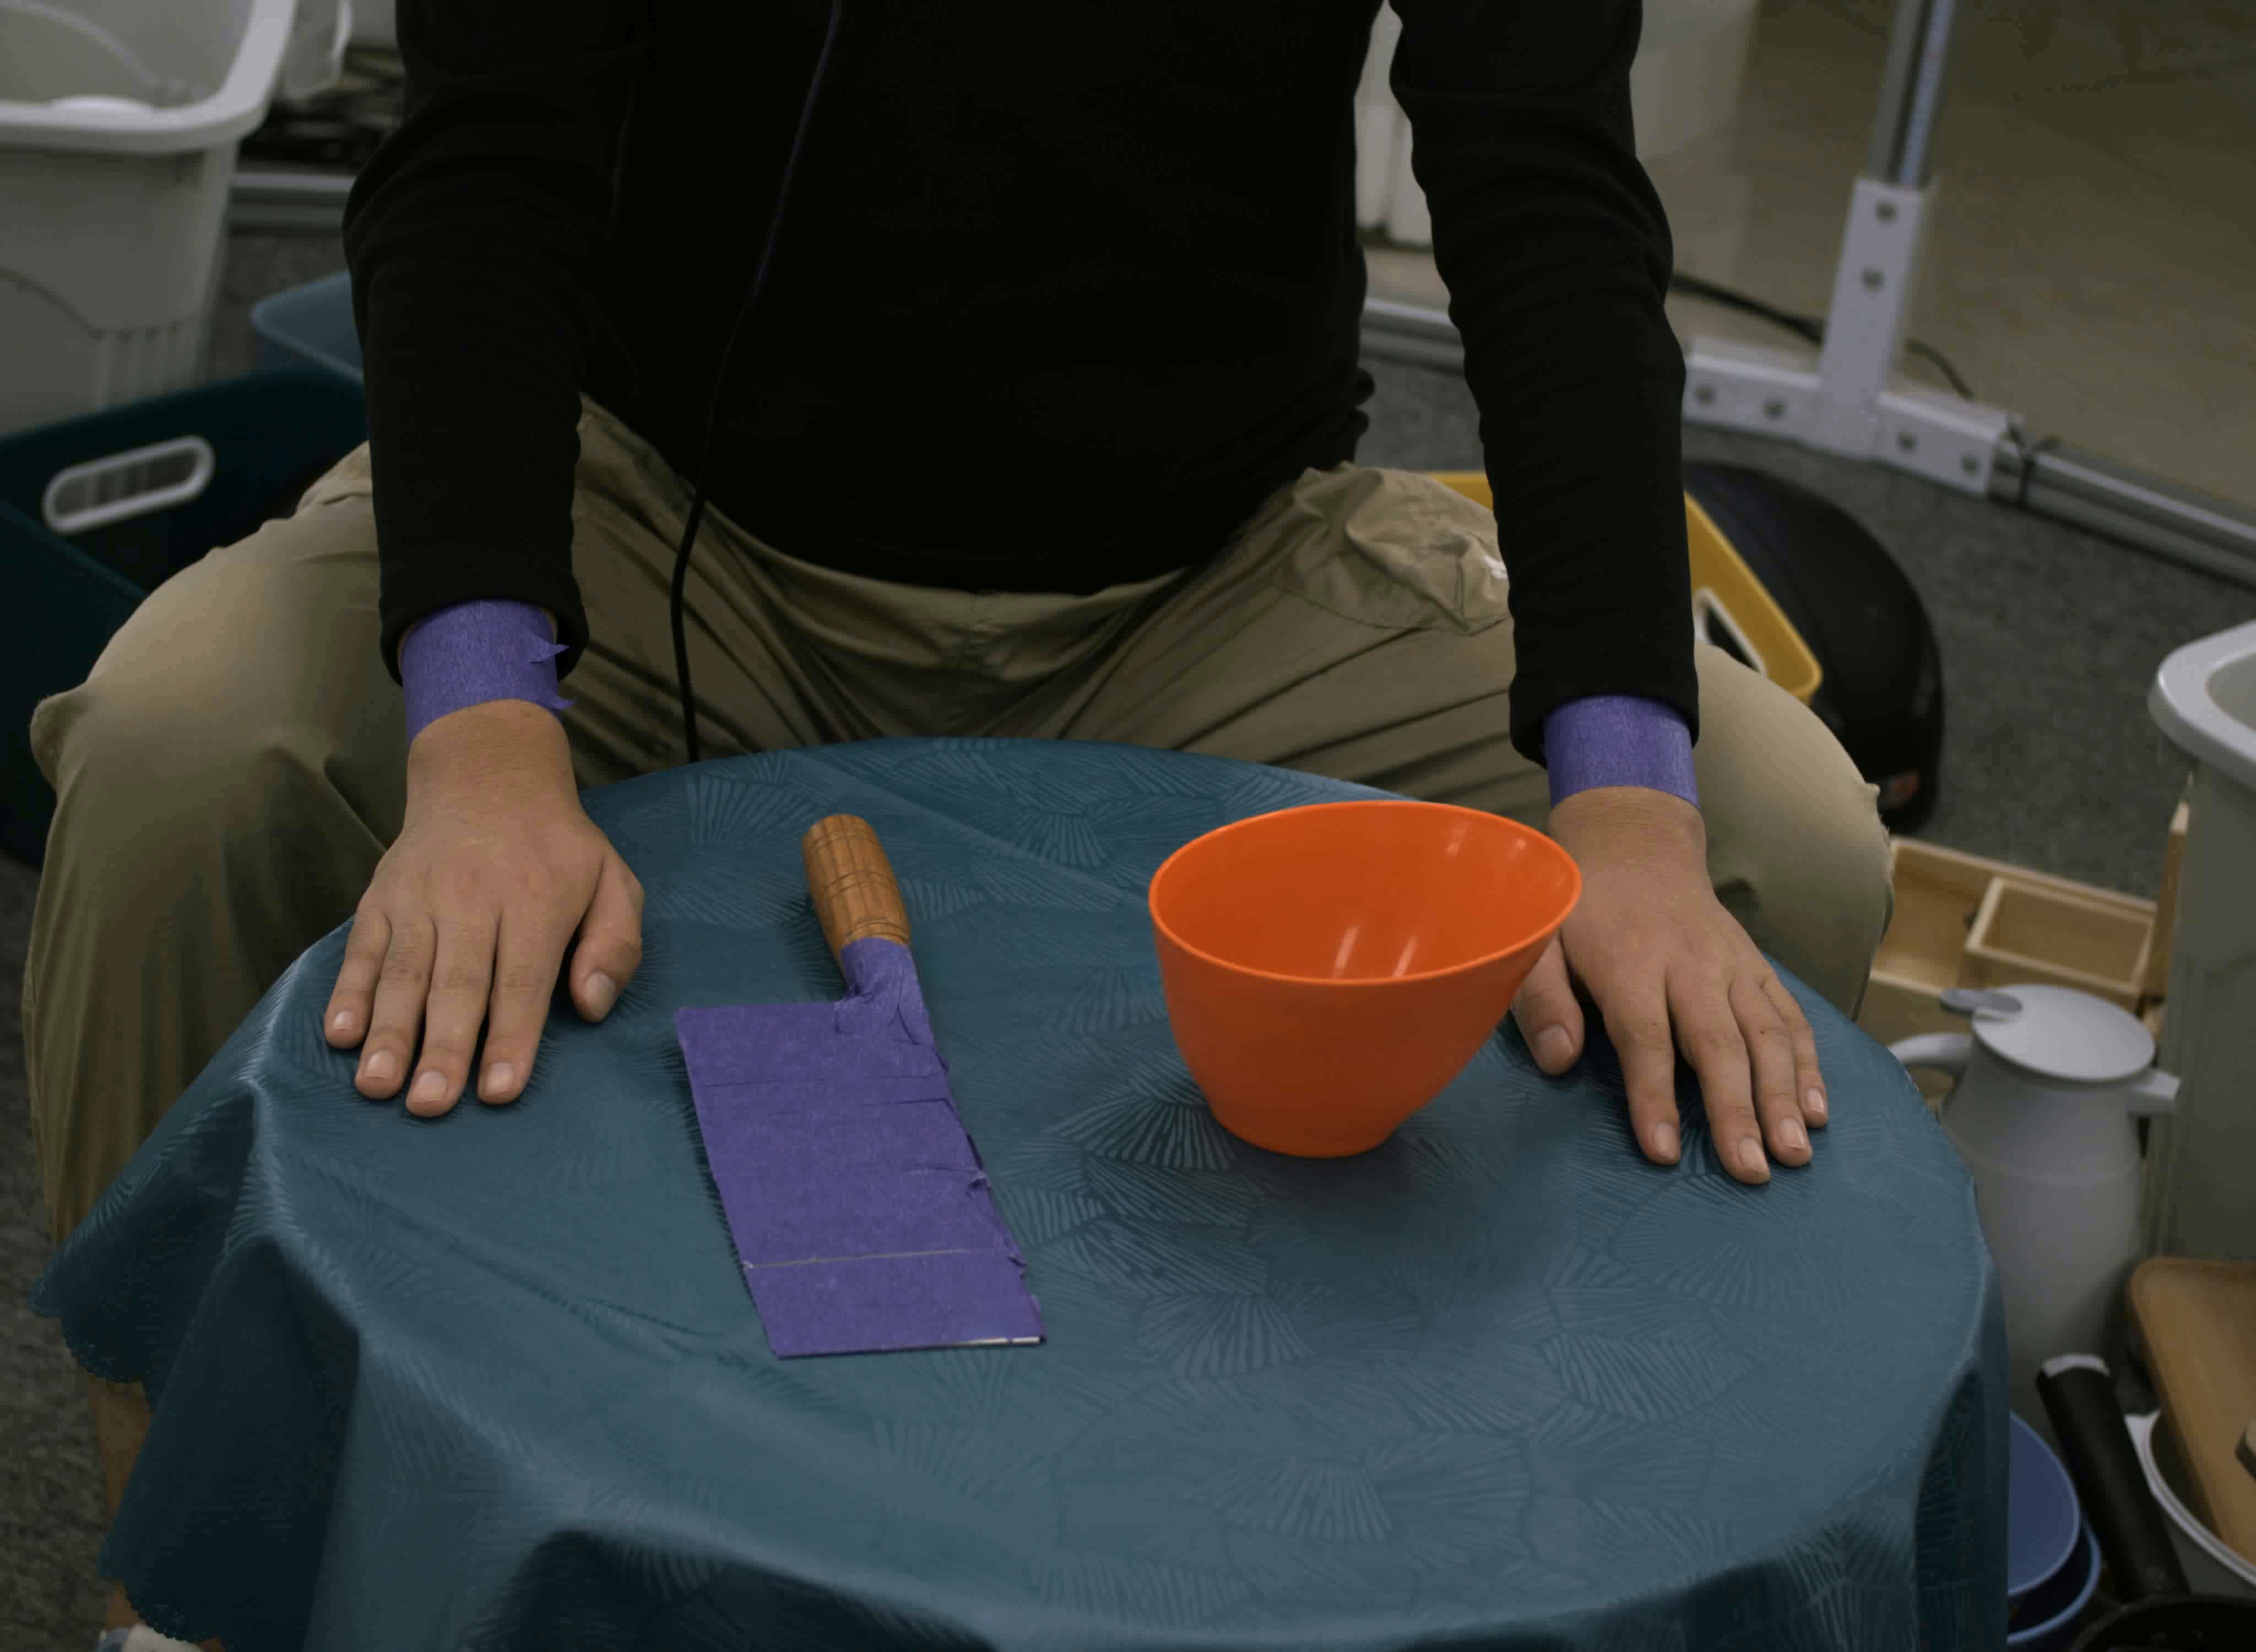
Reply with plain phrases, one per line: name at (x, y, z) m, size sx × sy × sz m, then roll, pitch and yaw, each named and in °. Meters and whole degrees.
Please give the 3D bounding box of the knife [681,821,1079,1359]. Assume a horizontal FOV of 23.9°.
knife at (-0.102, 0.086, 1.828) m, size 0.103 × 0.032 × 0.318 m, roll -1°, pitch 28°, yaw -15°

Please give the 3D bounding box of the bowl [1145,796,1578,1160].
bowl at (0.076, 0.058, 1.840) m, size 0.147 × 0.104 × 0.149 m, roll 4°, pitch 28°, yaw -2°
